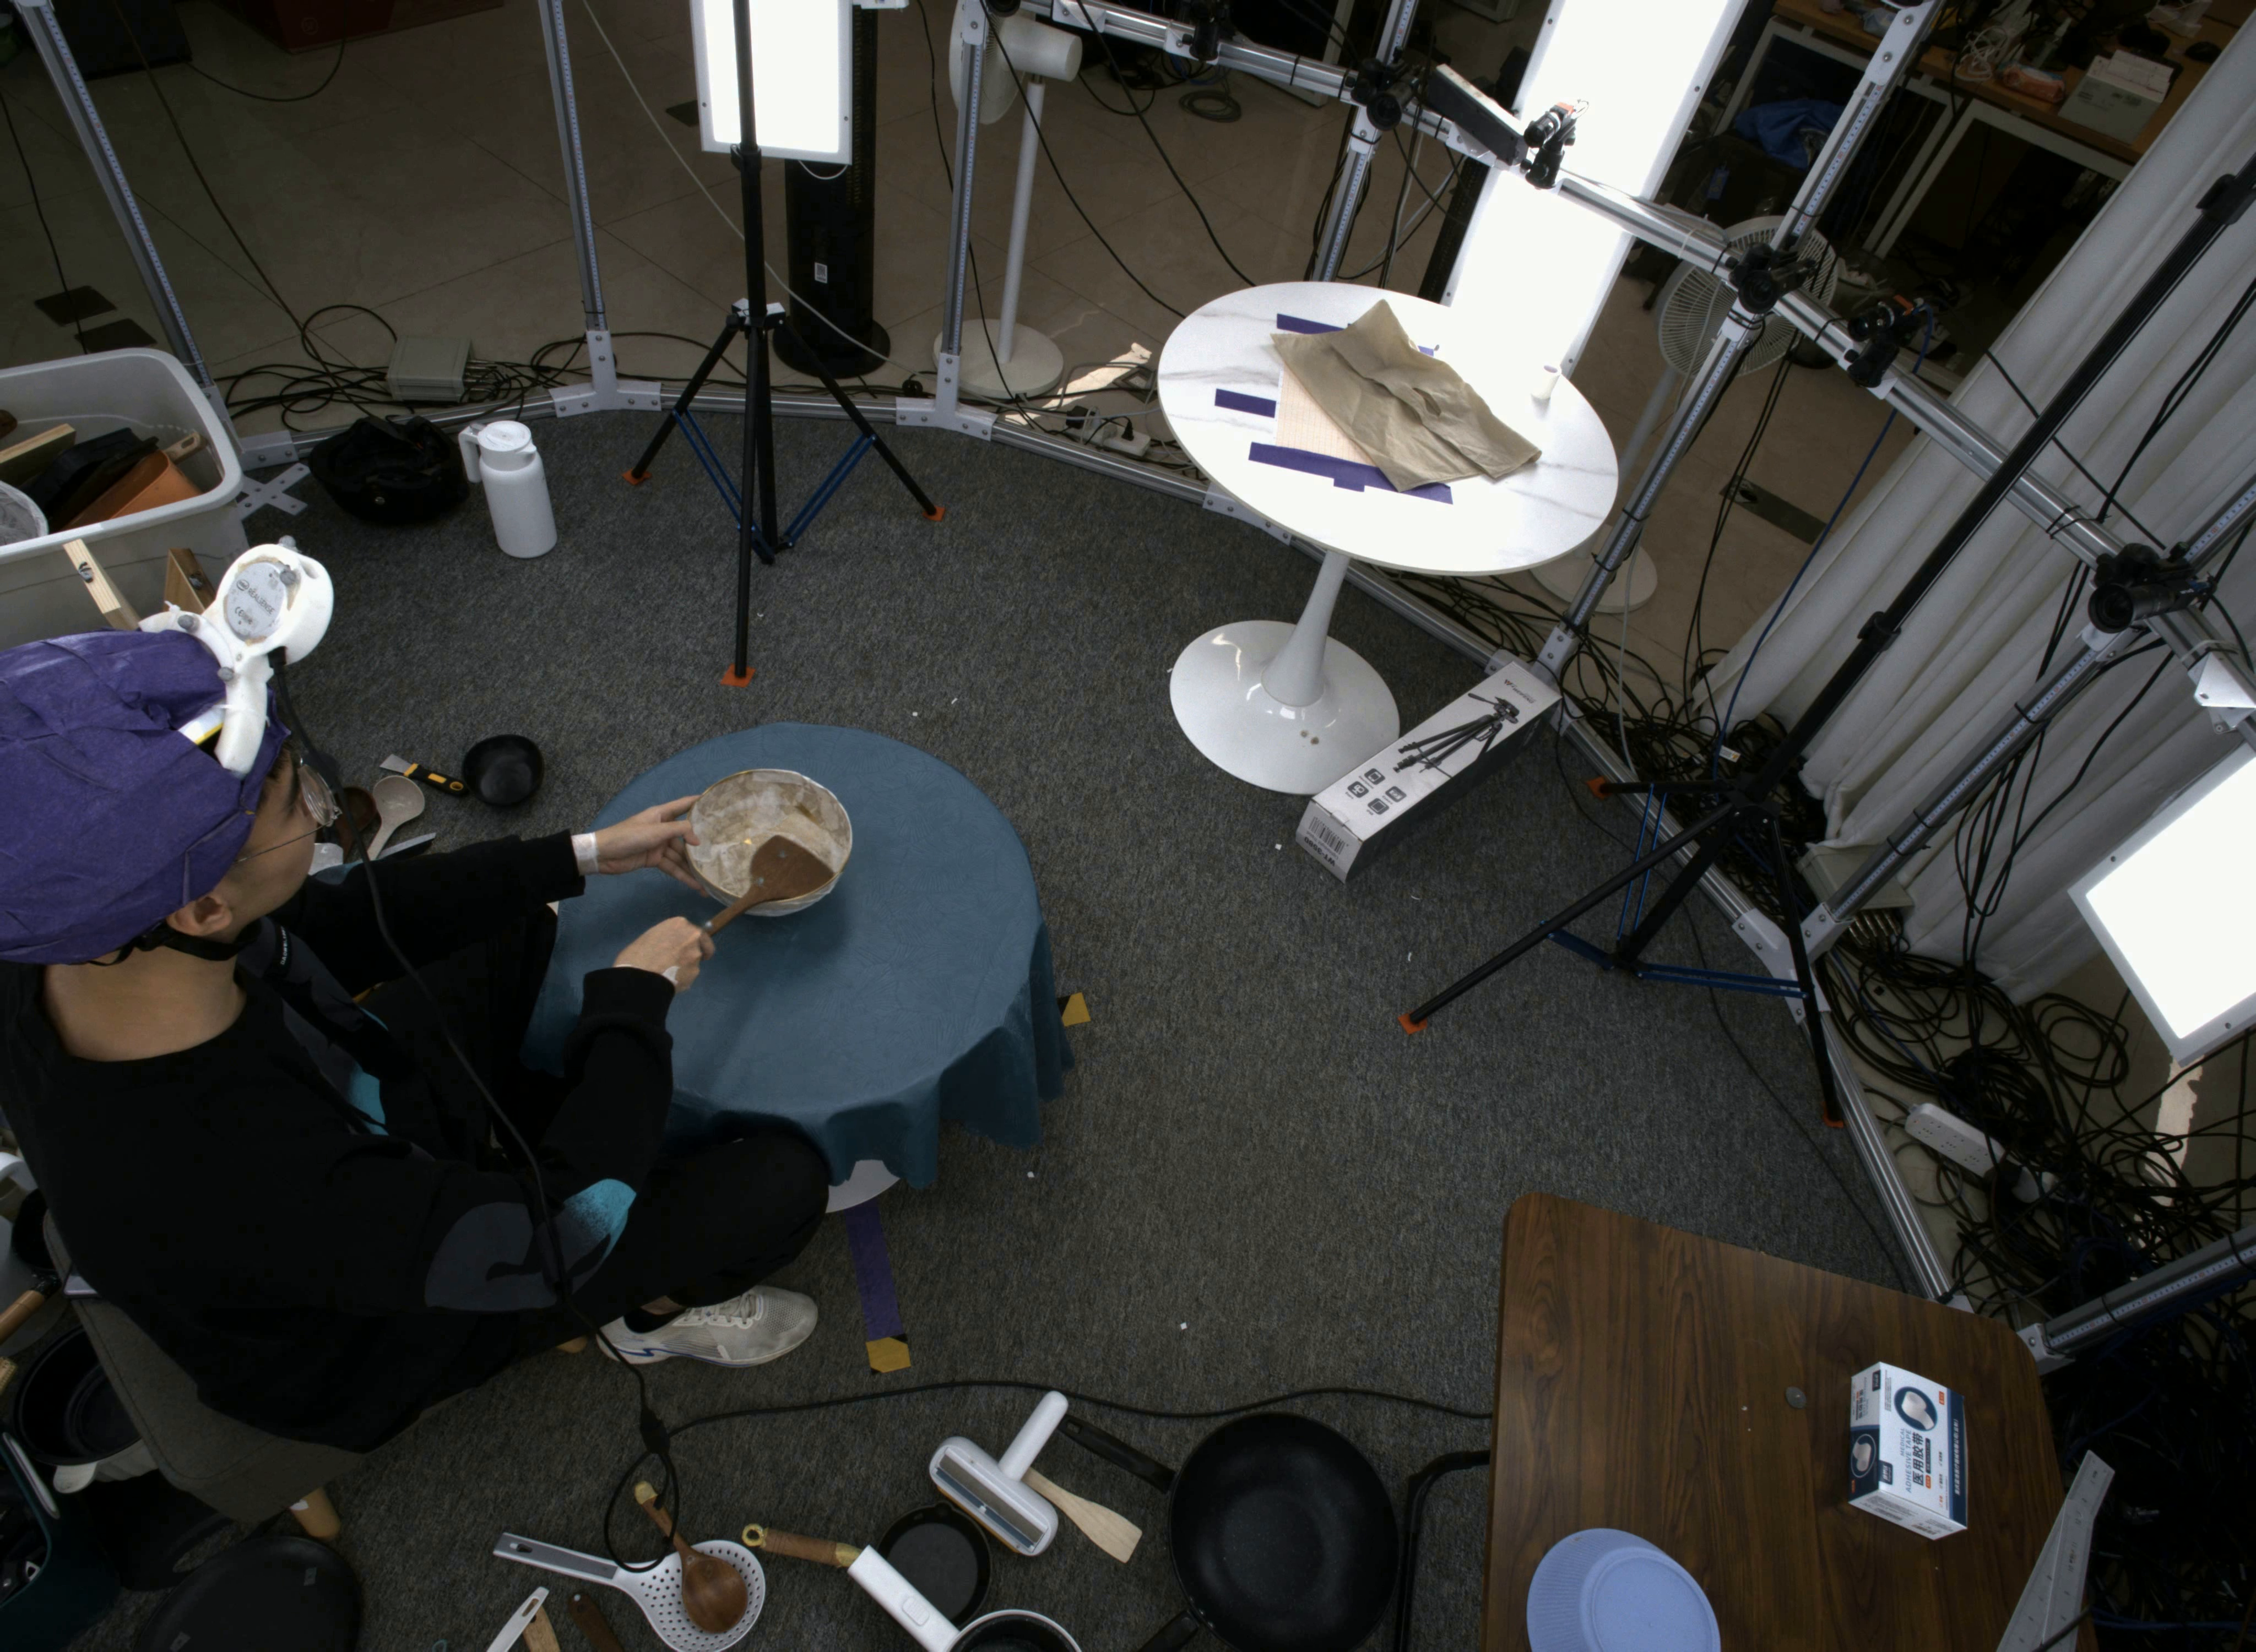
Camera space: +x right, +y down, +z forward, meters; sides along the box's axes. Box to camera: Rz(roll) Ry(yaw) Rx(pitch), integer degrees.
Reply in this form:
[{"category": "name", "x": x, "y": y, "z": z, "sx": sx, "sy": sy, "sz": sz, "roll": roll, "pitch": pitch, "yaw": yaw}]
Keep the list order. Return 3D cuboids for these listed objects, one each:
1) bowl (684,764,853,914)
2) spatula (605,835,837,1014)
[{"category": "bowl", "x": -0.451, "y": 0.031, "z": 1.605, "sx": 0.216, "sy": 0.096, "sz": 0.211, "roll": 13, "pitch": 51, "yaw": -14}, {"category": "spatula", "x": -0.457, "y": 0.106, "z": 1.445, "sx": 0.095, "sy": 0.016, "sz": 0.384, "roll": 35, "pitch": 30, "yaw": 4}]
